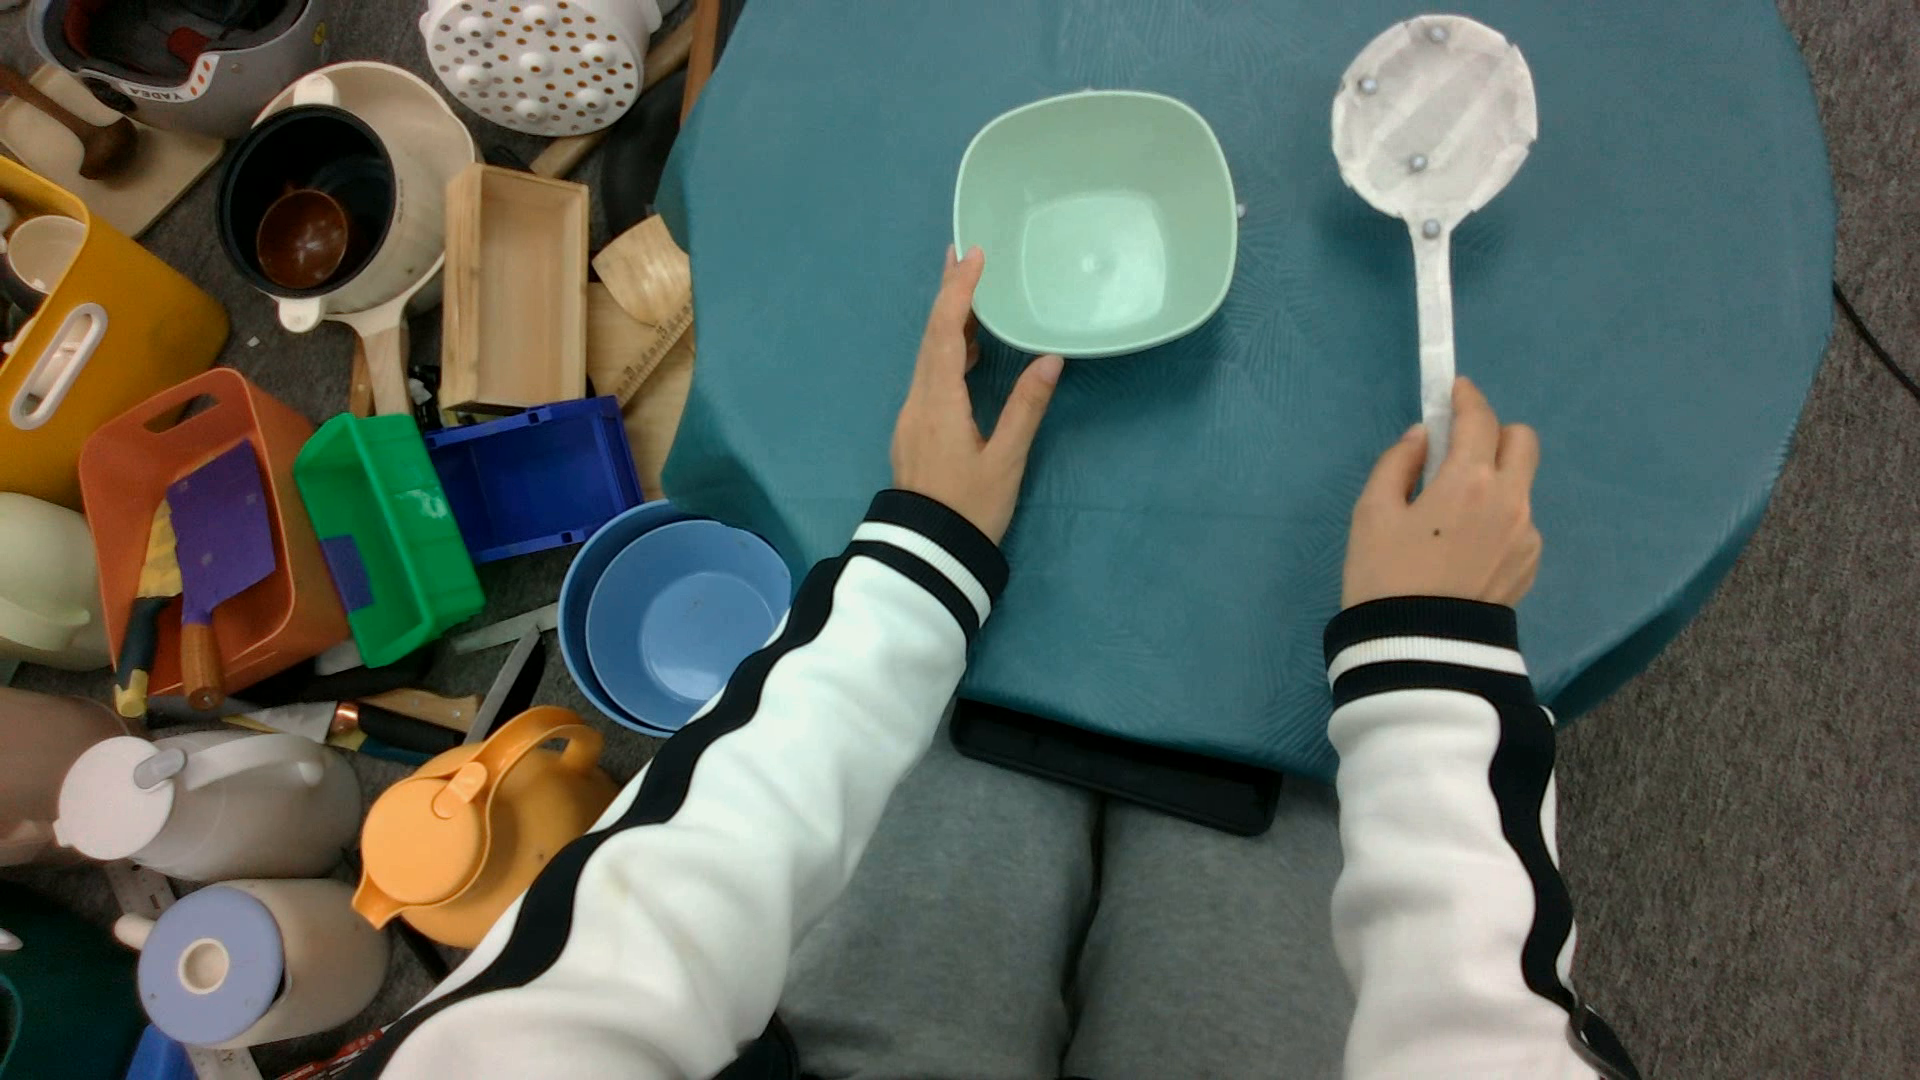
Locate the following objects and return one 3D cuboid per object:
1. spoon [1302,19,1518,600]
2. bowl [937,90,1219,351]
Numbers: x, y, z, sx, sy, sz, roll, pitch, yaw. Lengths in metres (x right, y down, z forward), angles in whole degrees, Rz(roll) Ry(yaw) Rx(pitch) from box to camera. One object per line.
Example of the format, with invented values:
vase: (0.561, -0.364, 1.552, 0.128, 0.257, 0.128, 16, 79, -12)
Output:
spoon: (0.205, -0.112, 0.637, 0.100, 0.059, 0.278, 2, 69, 16)
bowl: (0.060, -0.154, 0.707, 0.151, 0.058, 0.152, -1, 76, 4)
